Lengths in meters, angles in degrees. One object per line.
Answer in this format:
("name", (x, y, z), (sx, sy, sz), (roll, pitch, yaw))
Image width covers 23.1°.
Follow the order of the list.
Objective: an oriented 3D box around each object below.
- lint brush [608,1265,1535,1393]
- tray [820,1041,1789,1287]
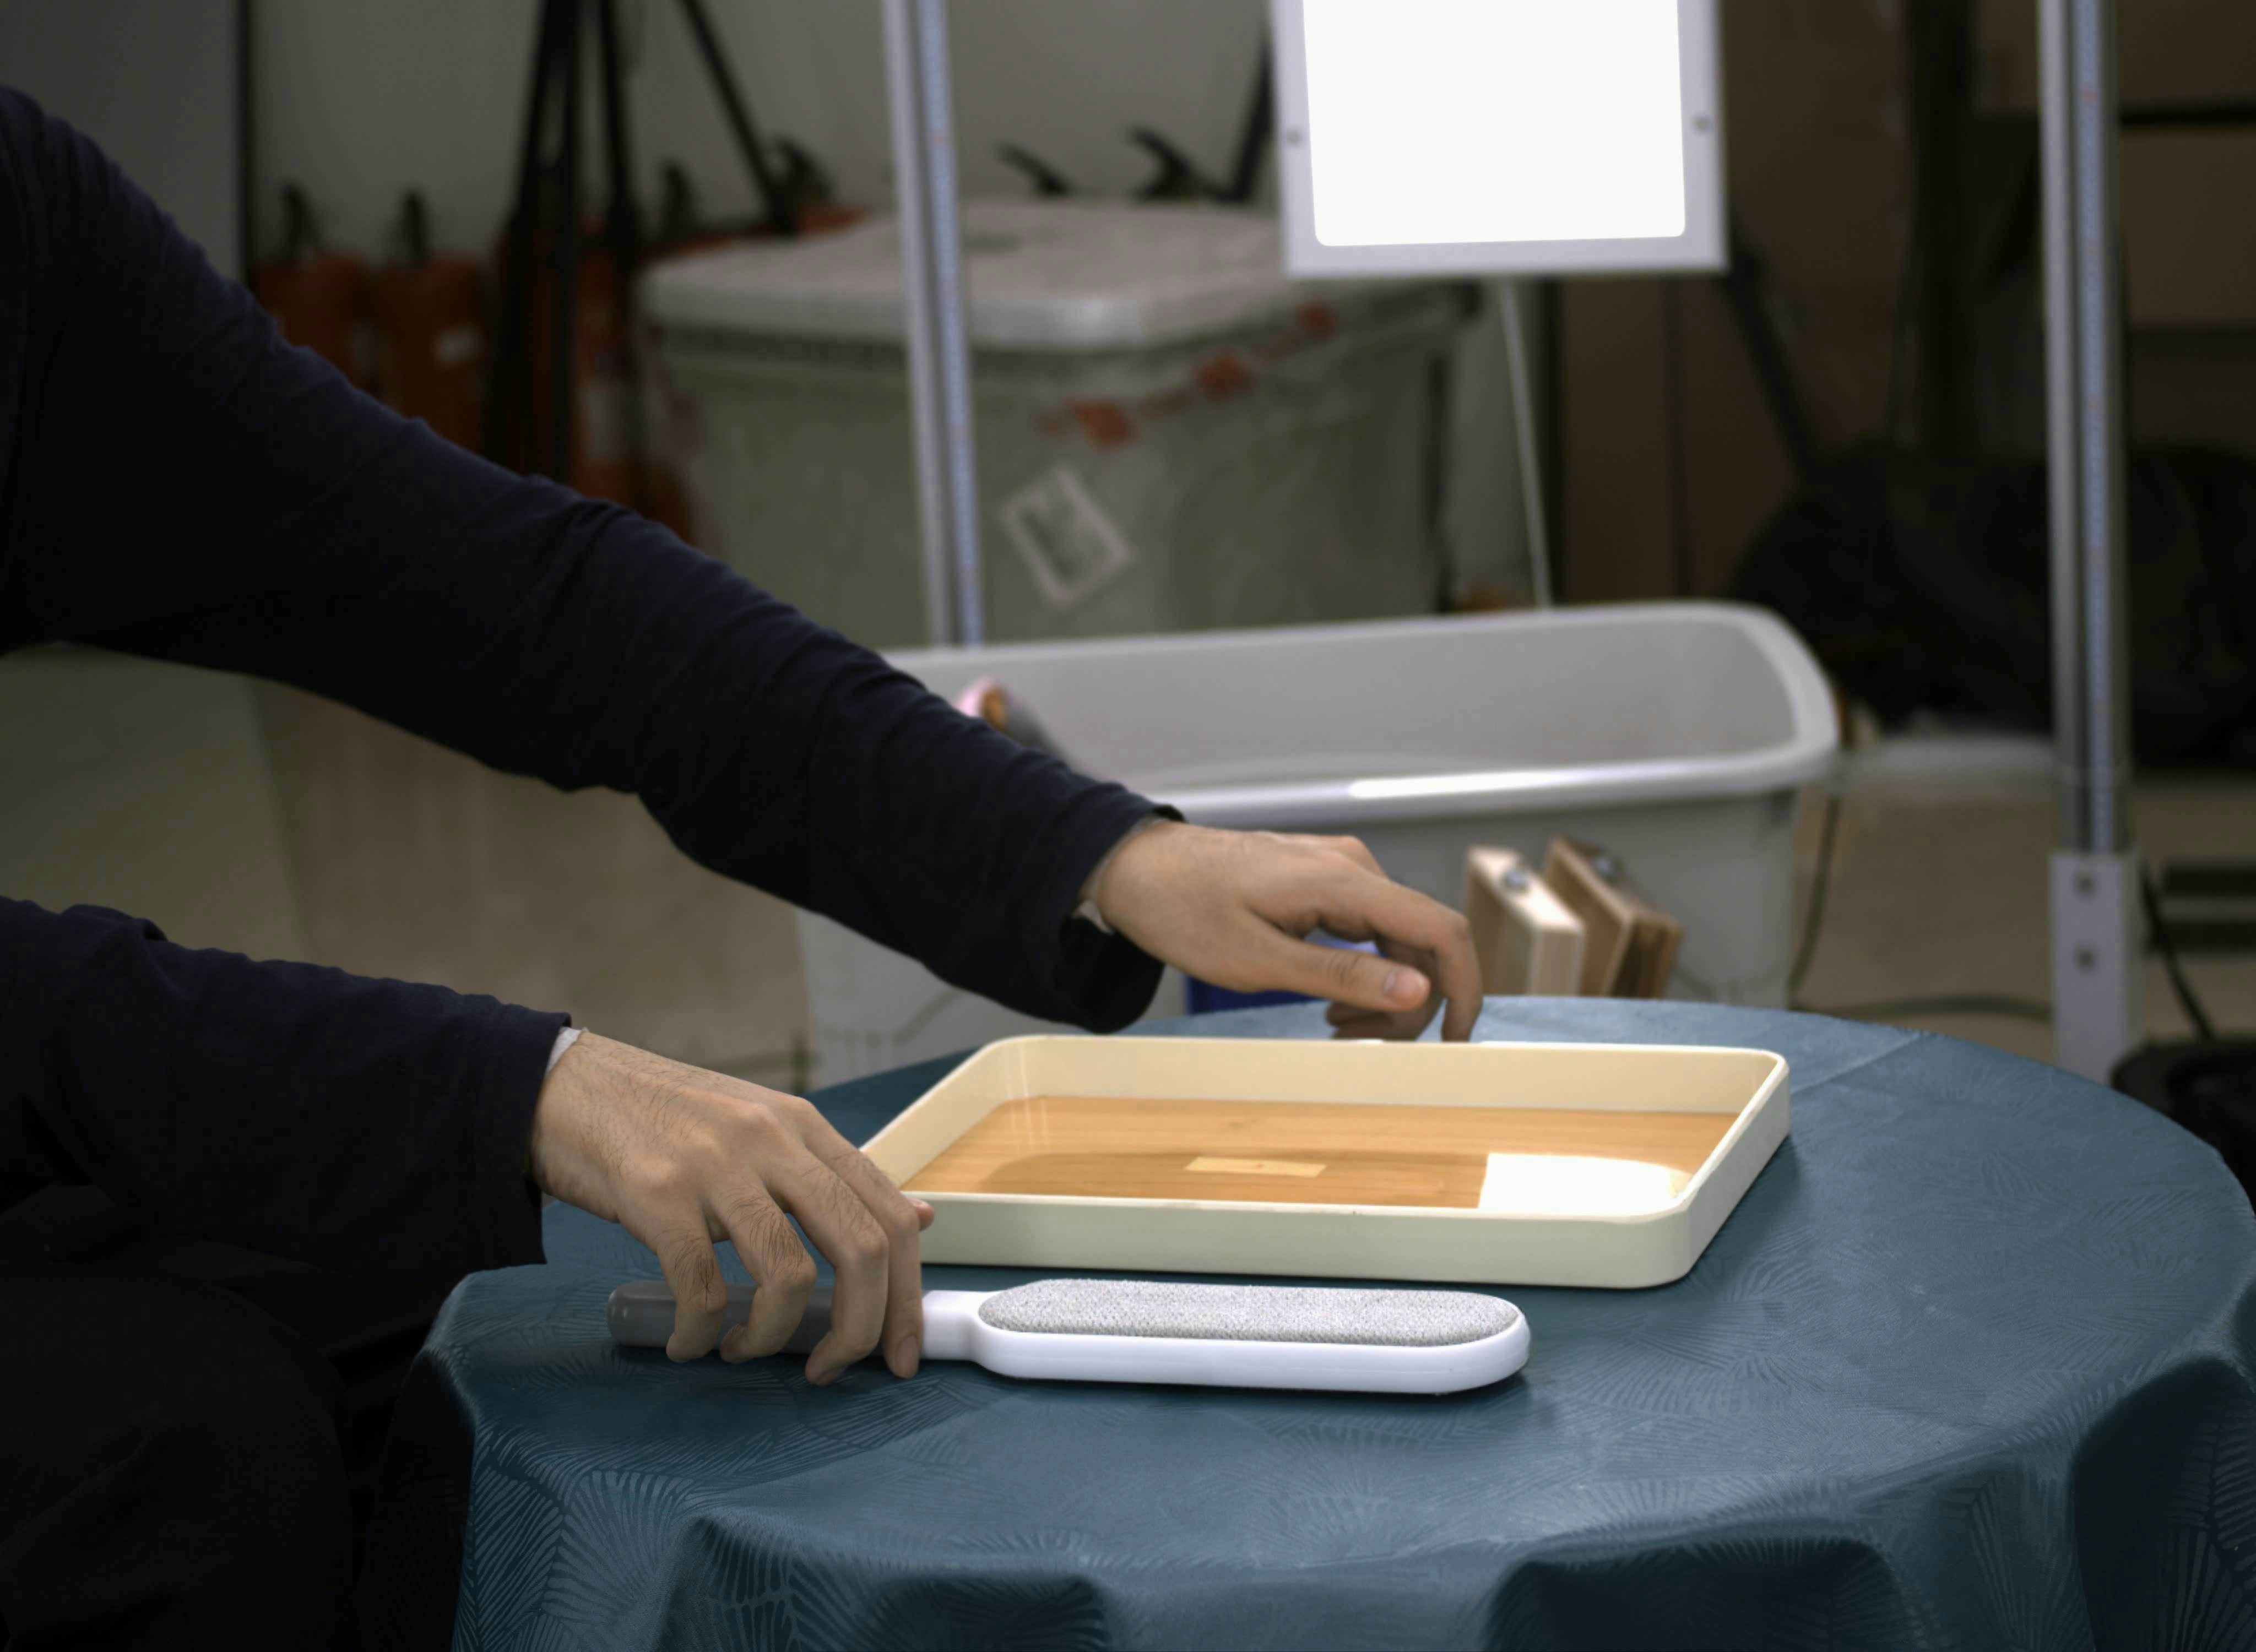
("lint brush", (-0.022, 0.156, 1.736), (0.313, 0.021, 0.059), (0, 20, 22))
("tray", (0.063, 0.113, 1.880), (0.304, 0.027, 0.188), (0, 14, 22))
